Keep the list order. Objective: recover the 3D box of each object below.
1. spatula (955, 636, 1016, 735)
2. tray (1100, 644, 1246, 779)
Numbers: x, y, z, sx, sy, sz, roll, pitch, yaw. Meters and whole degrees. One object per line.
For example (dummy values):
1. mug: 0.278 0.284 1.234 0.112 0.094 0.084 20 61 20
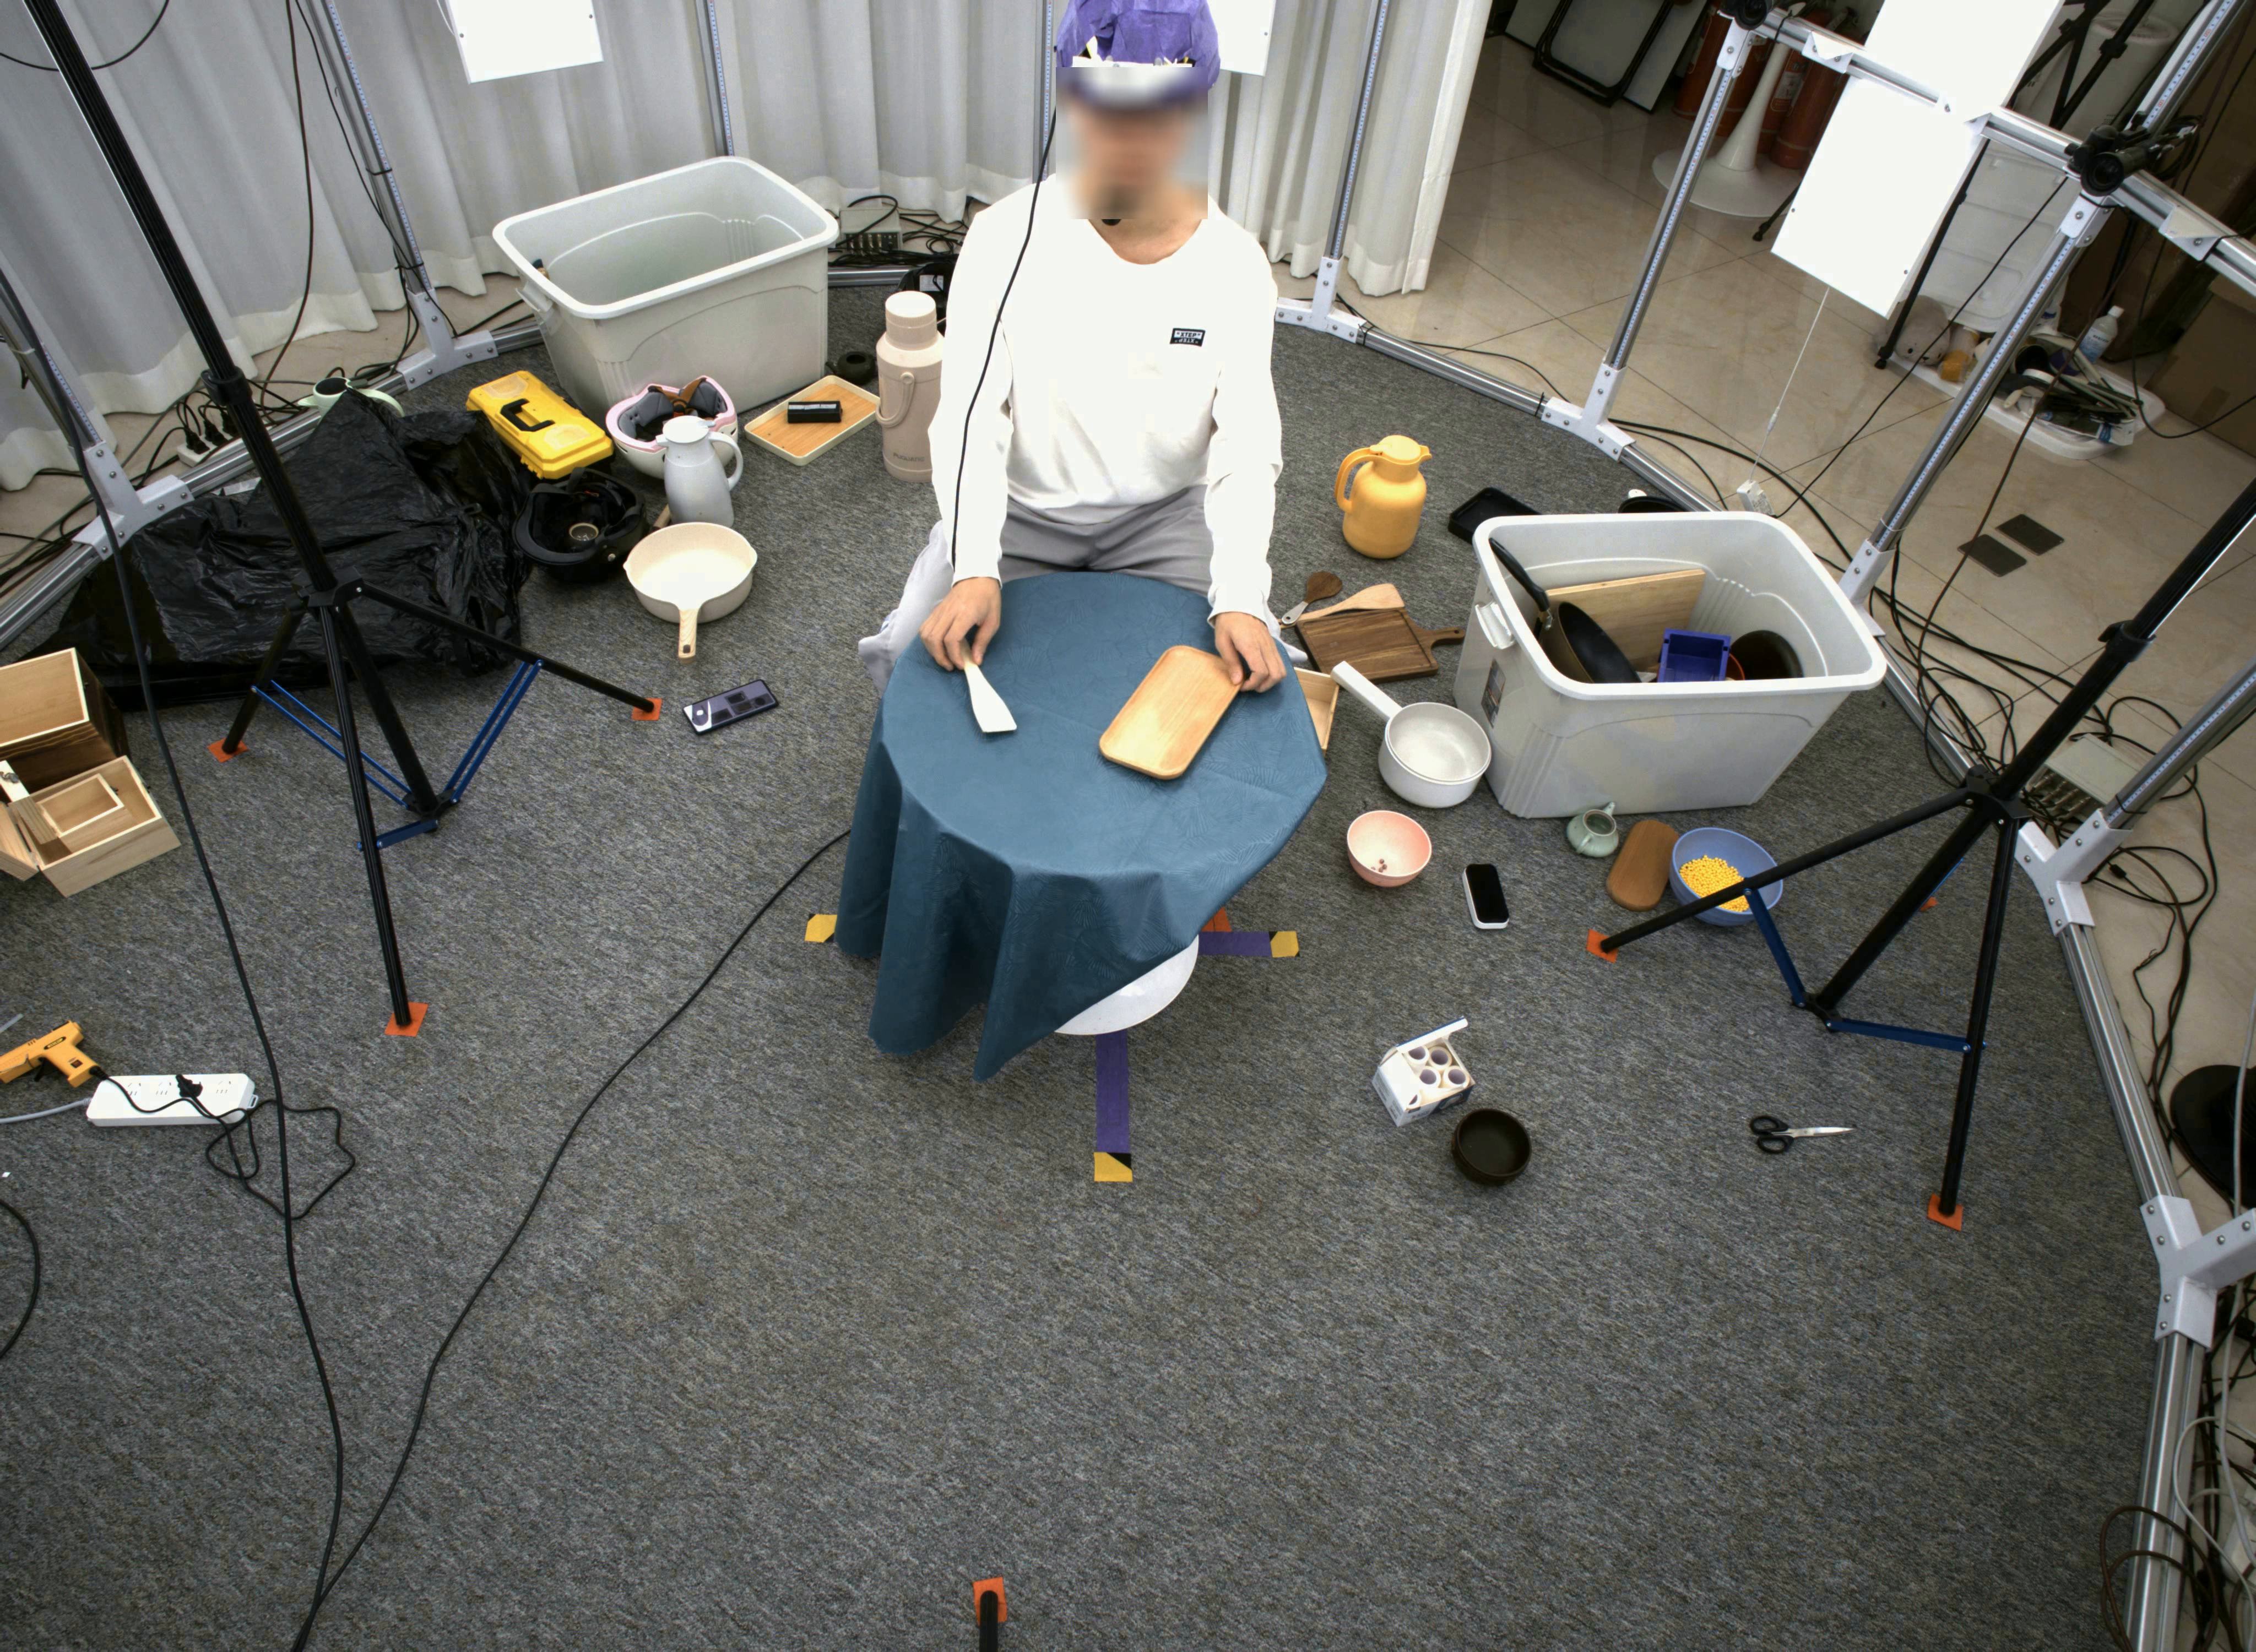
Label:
1. spatula: -0.208 -0.201 1.814 0.050 0.005 0.213 -6 48 -22
2. tray: 0.065 -0.163 1.794 0.131 0.022 0.255 23 51 16
